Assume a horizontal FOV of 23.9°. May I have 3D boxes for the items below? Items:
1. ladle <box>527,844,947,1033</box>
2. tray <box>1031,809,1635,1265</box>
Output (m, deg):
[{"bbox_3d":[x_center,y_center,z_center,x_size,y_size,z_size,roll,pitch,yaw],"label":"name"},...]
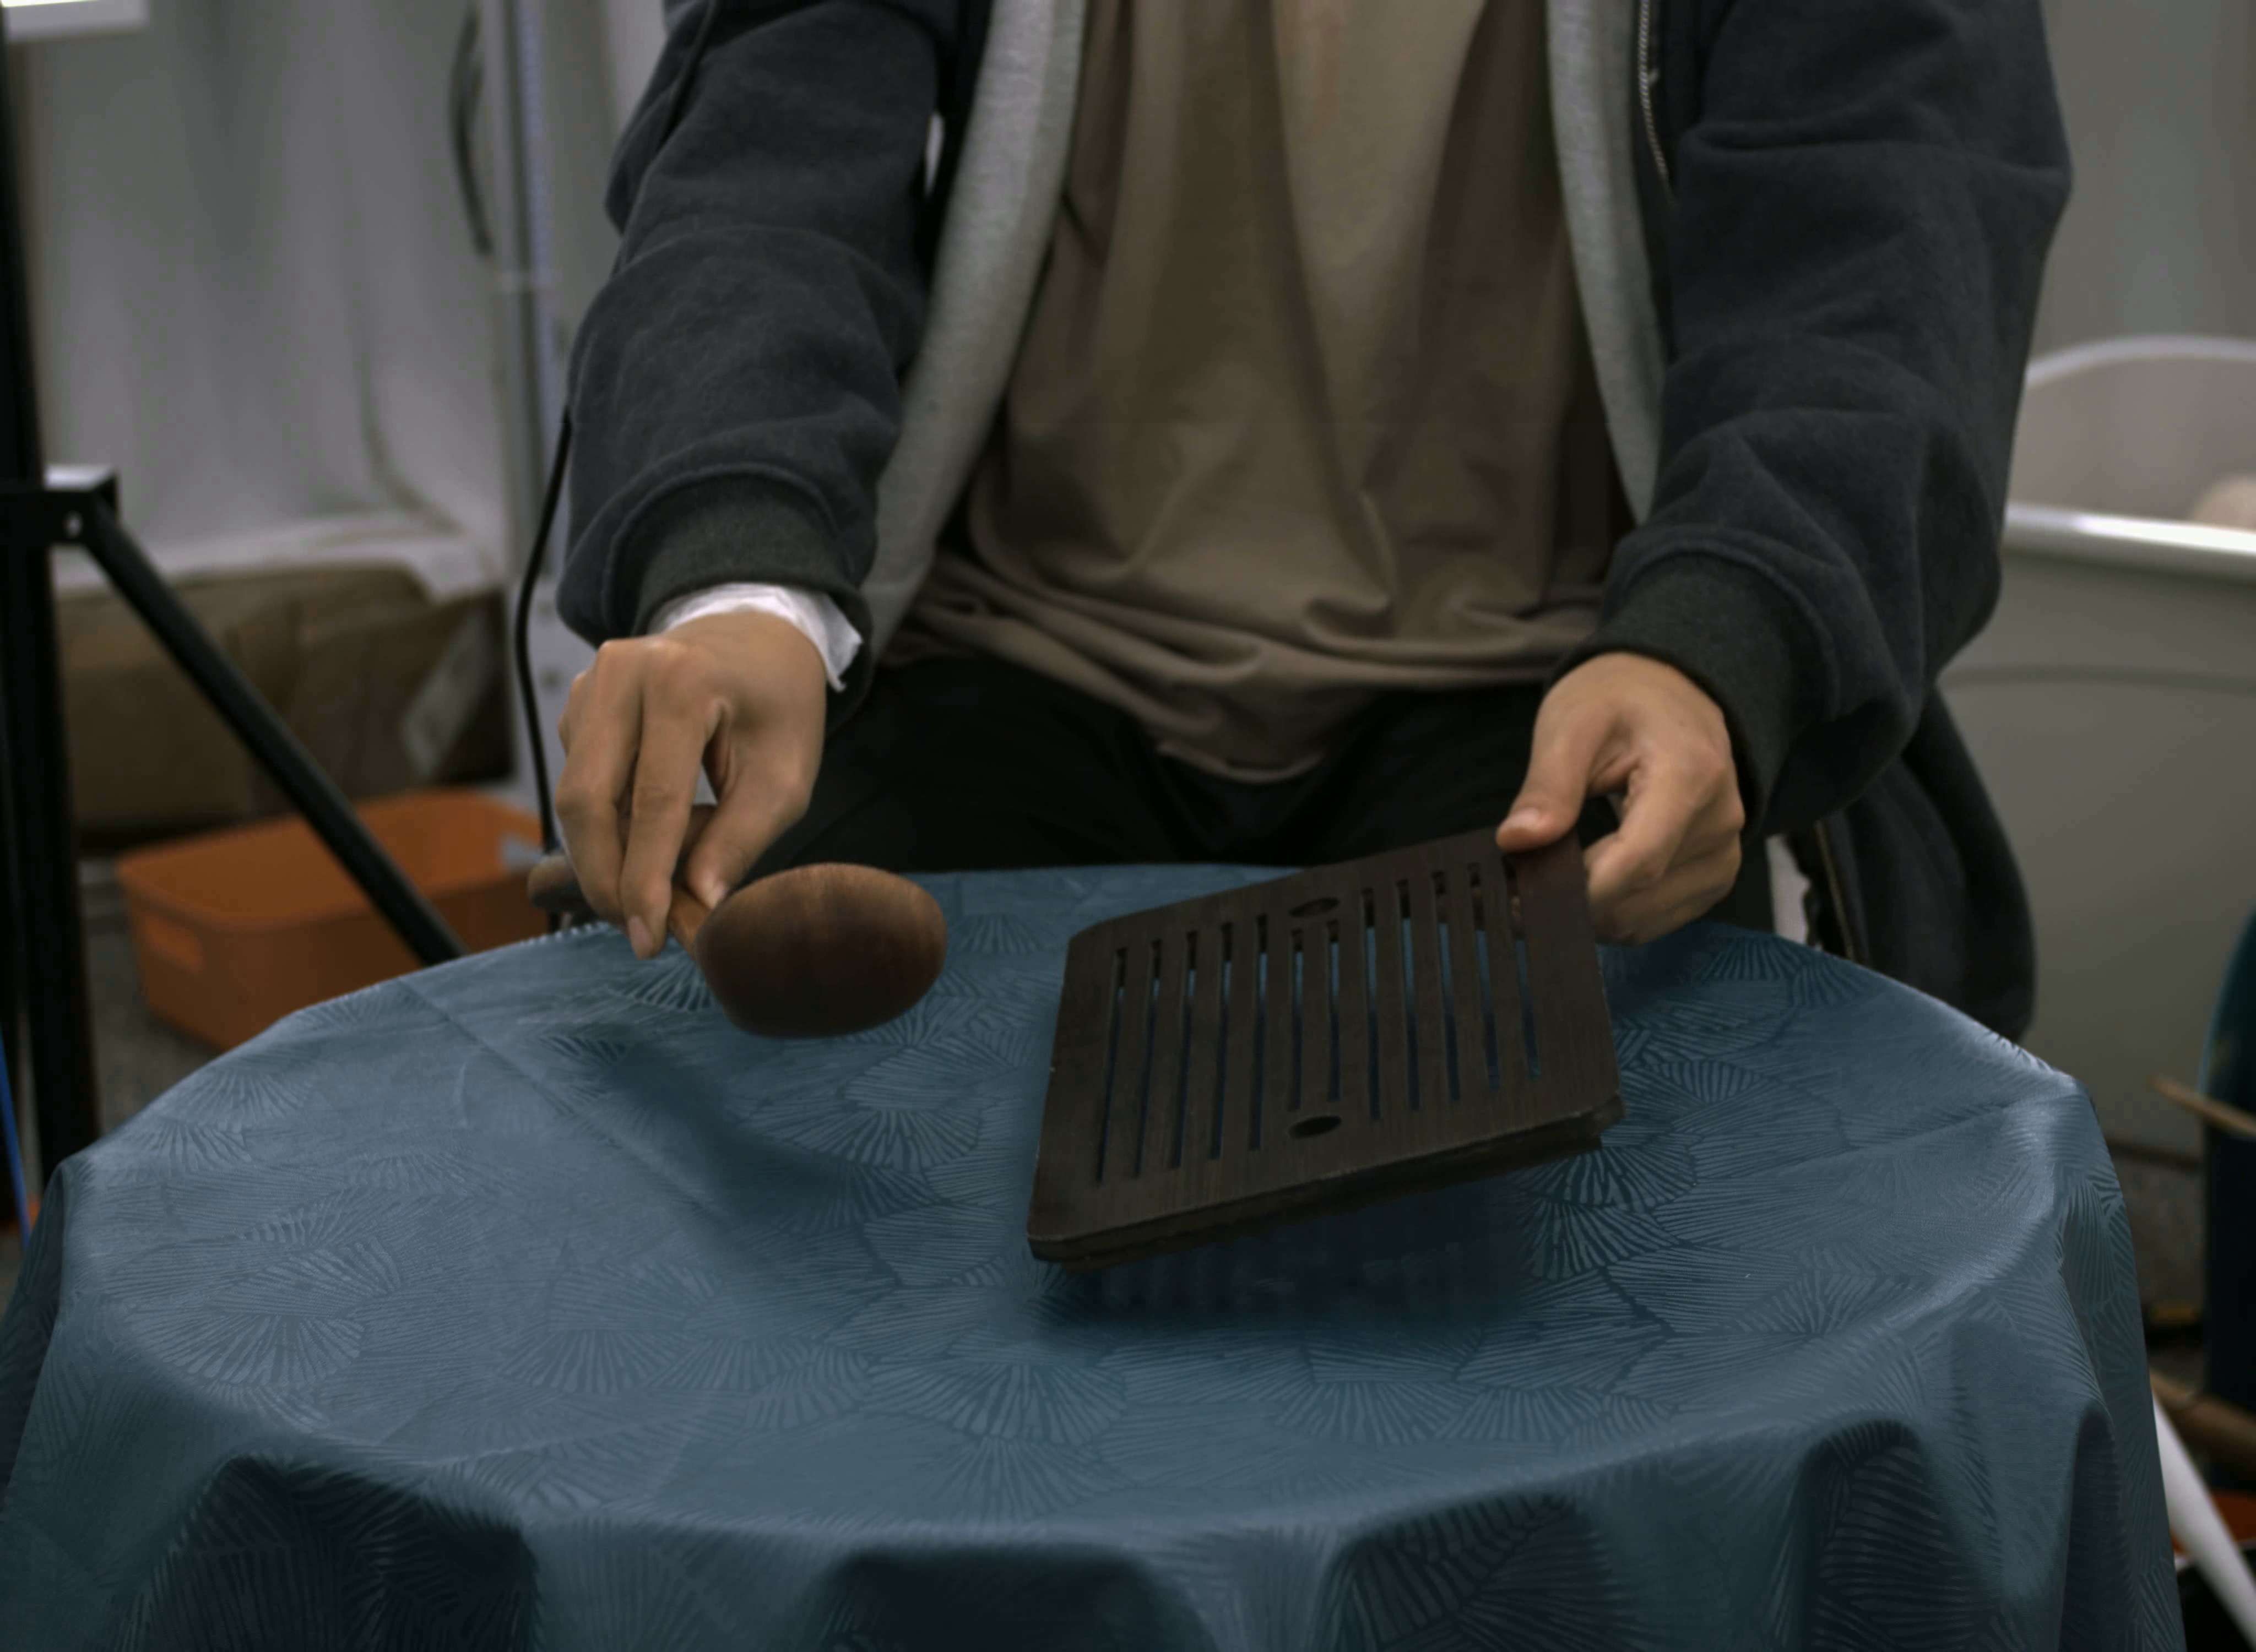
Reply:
[{"bbox_3d":[-0.132,0.018,1.664,0.075,0.065,0.265,16,3,-26],"label":"ladle"},{"bbox_3d":[0.061,0.060,1.586,0.170,0.018,0.306,-14,14,6],"label":"tray"}]
